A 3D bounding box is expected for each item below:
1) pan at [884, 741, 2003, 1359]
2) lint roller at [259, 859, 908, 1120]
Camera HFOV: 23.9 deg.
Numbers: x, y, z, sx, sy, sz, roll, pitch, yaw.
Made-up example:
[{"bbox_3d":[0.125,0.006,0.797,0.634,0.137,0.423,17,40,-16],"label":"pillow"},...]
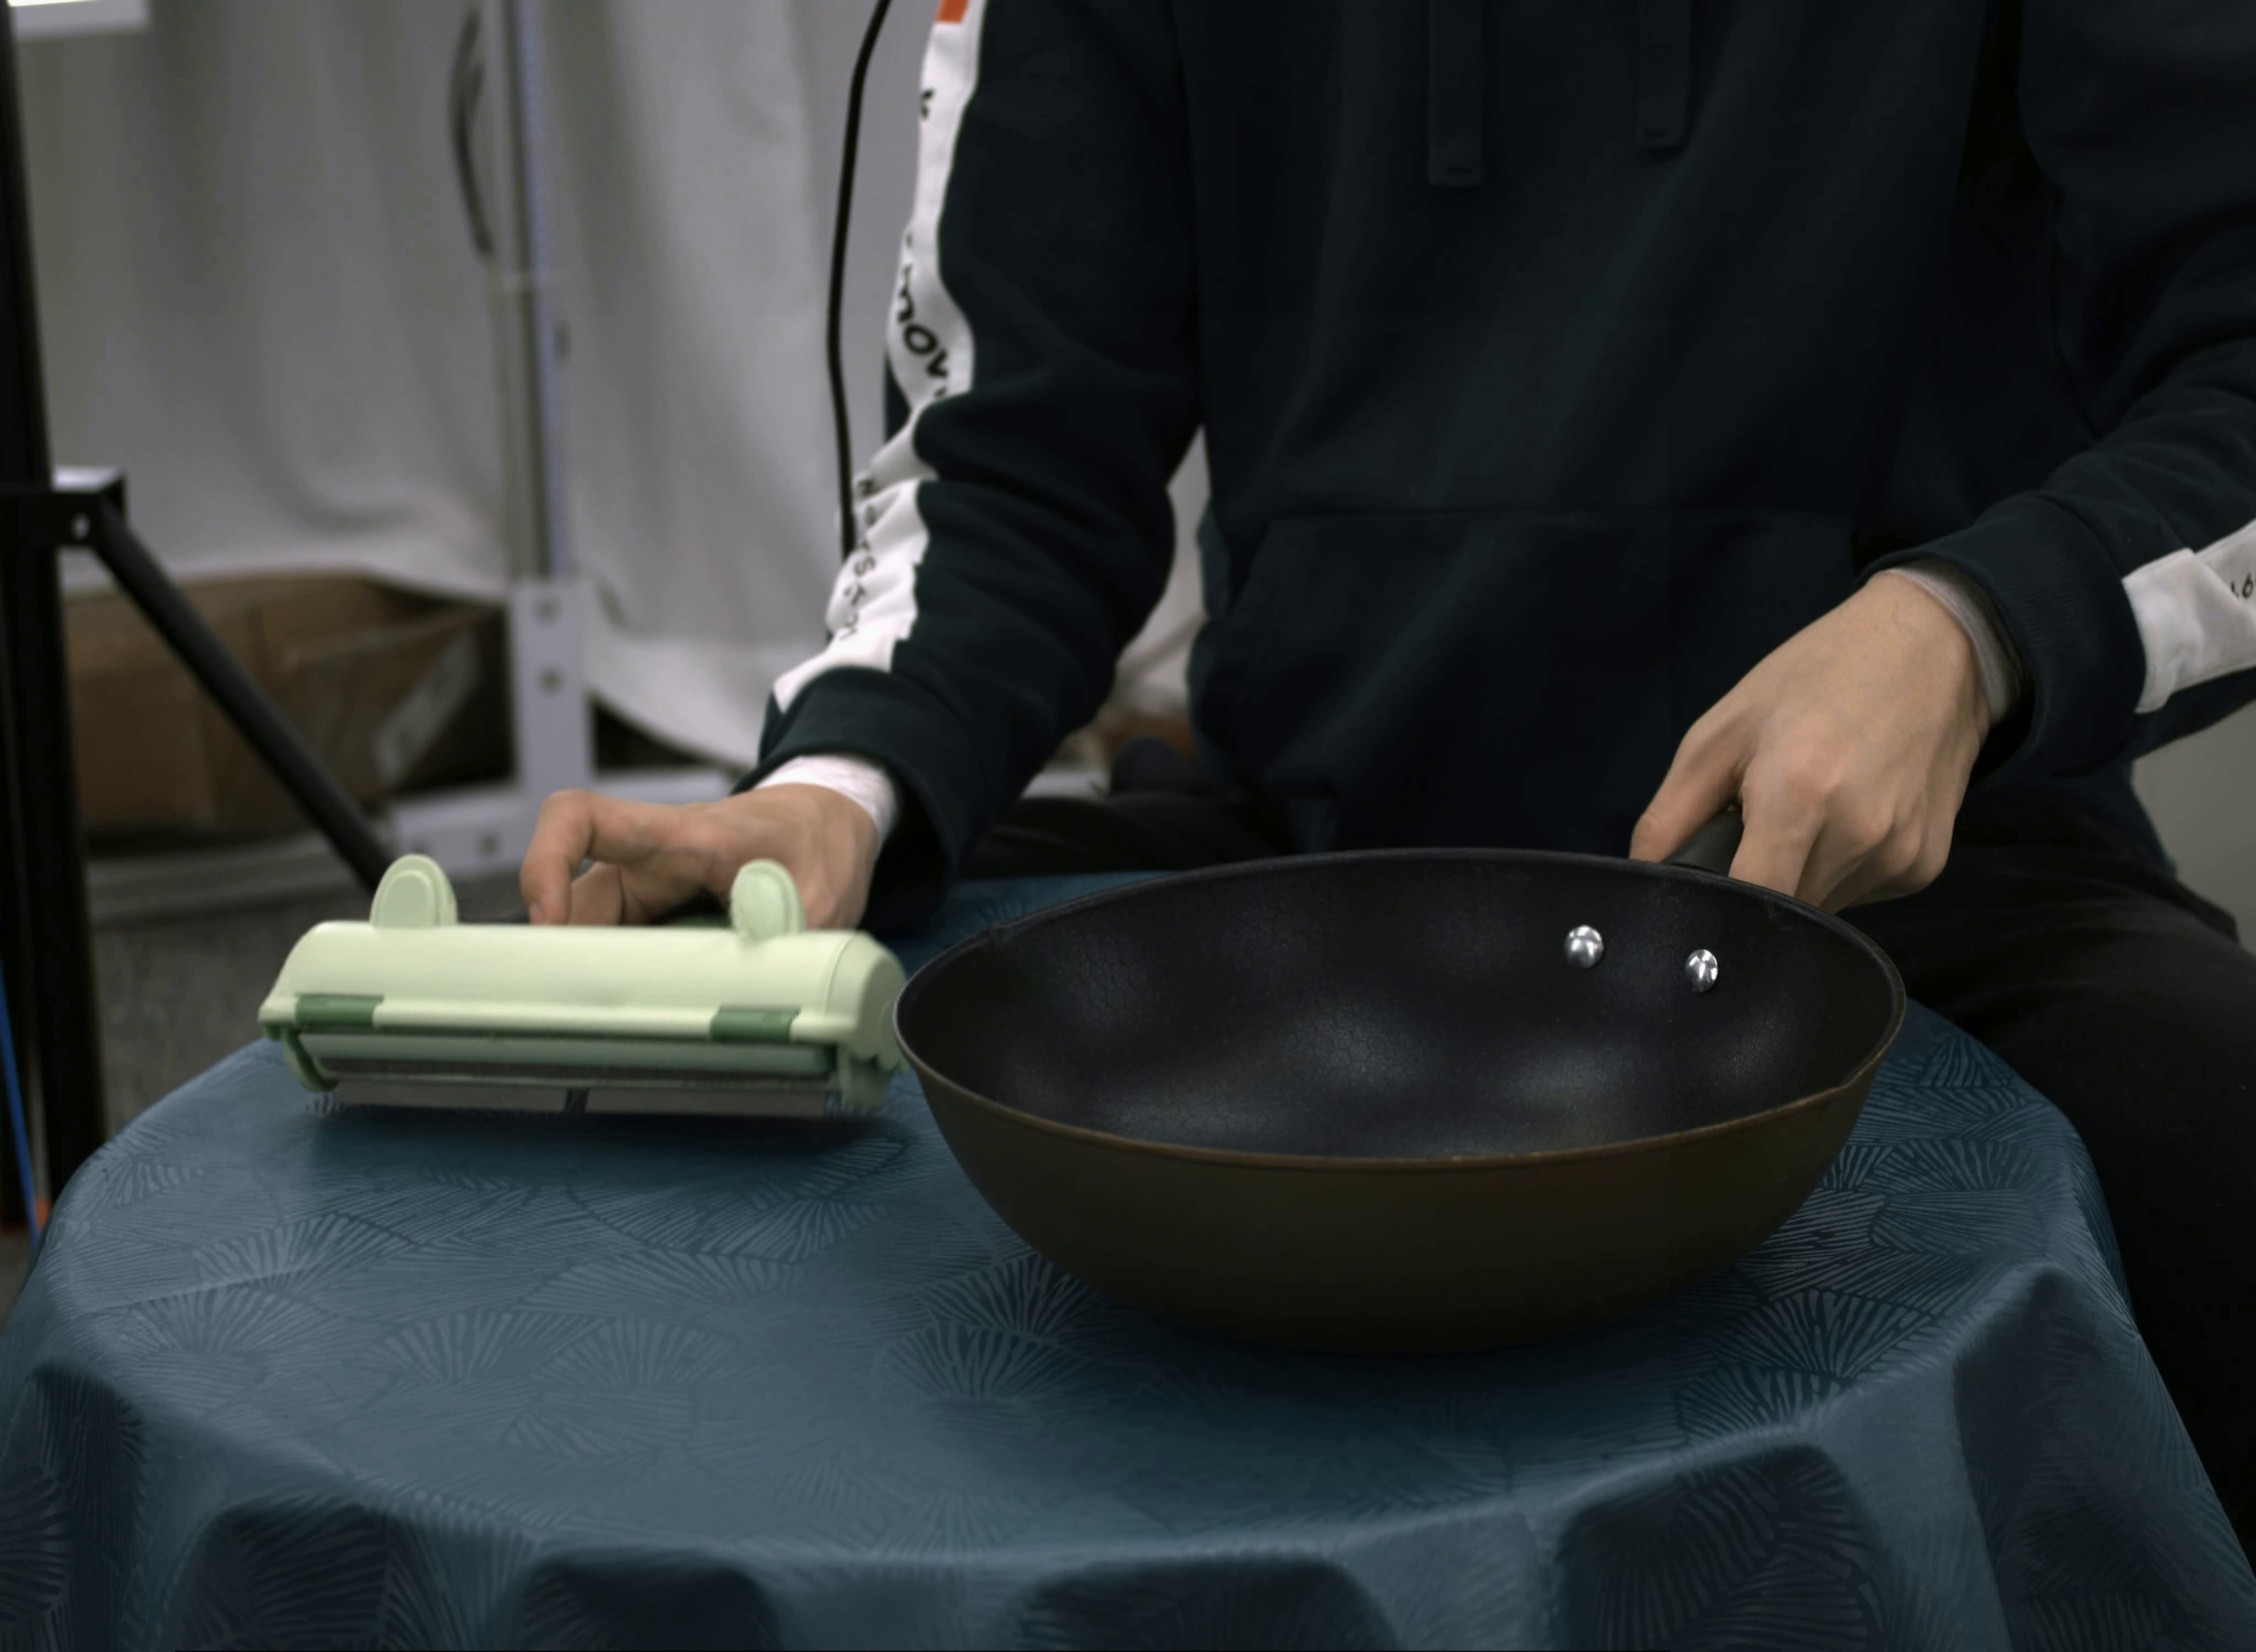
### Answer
[{"bbox_3d":[0.128,0.062,1.545,0.294,0.087,0.453,10,20,37],"label":"pan"},{"bbox_3d":[-0.151,0.036,1.687,0.201,0.082,0.181,1,19,20],"label":"lint roller"}]
